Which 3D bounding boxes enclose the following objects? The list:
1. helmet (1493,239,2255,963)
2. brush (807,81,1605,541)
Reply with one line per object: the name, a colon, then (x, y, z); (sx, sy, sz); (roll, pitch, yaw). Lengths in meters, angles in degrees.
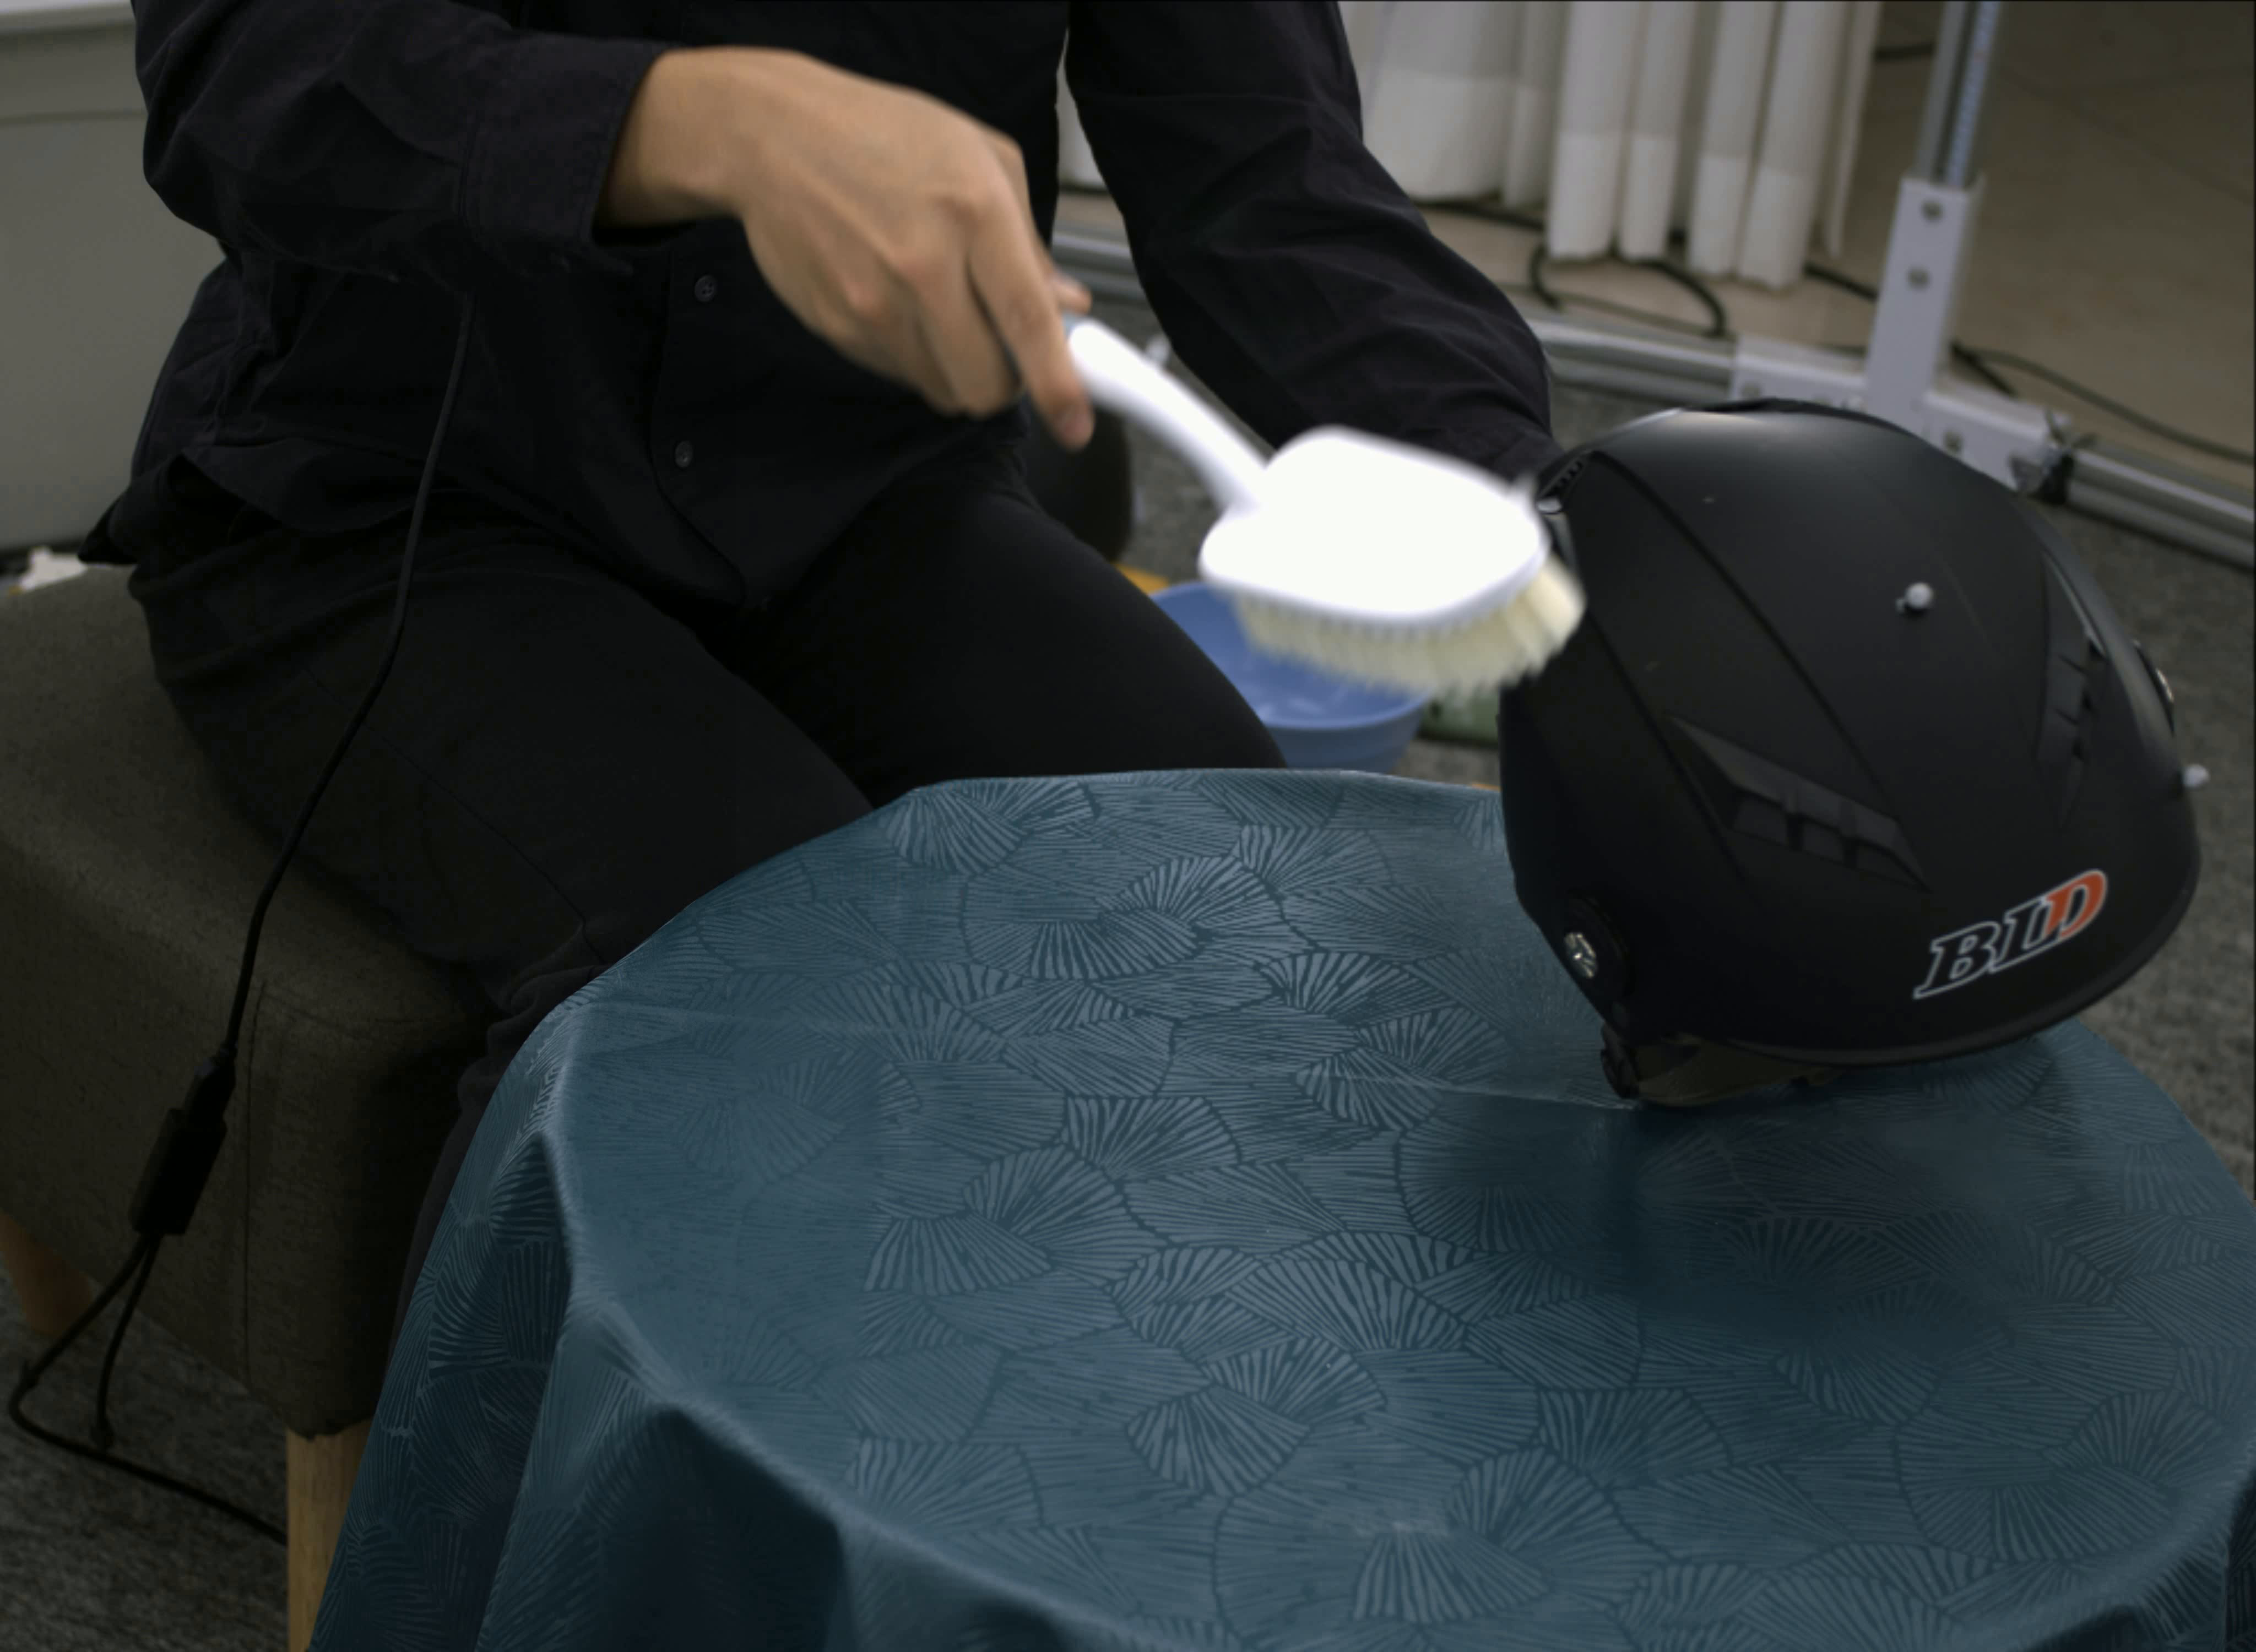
helmet: (0.244, -0.088, 1.820); (0.246, 0.171, 0.279); (-24, 35, -9)
brush: (0.025, -0.167, 1.759); (0.328, 0.084, 0.082); (26, 26, 34)
